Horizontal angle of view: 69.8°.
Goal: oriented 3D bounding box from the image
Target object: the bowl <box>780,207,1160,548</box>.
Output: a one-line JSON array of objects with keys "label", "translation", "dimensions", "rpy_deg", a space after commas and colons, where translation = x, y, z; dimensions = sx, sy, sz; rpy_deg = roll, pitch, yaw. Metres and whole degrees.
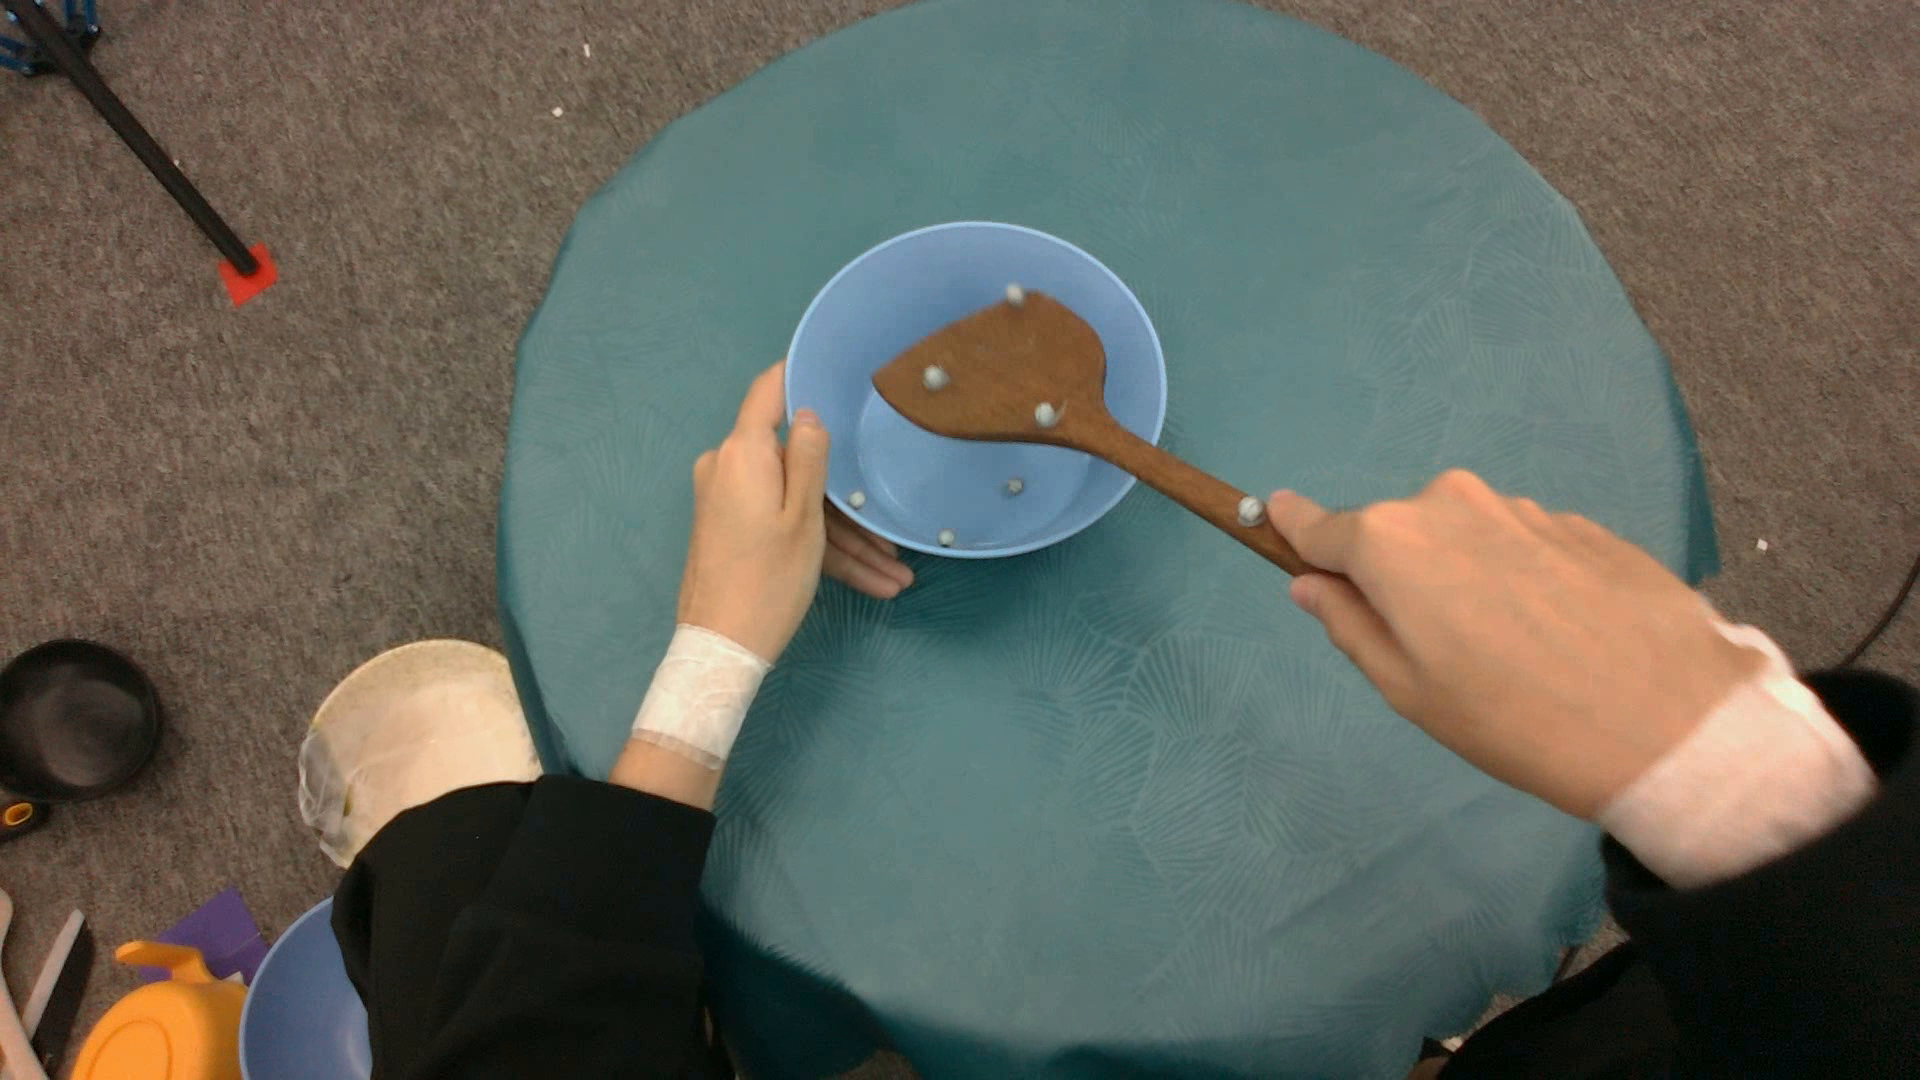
[{"label": "bowl", "translation": [0.005, -0.068, 0.663], "dimensions": [0.176, 0.070, 0.176], "rpy_deg": [0, 69, 0]}]

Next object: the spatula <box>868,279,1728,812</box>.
[{"label": "spatula", "translation": [0.090, -0.018, 0.488], "dimensions": [0.096, 0.016, 0.386], "rpy_deg": [-31, 39, -17]}]
